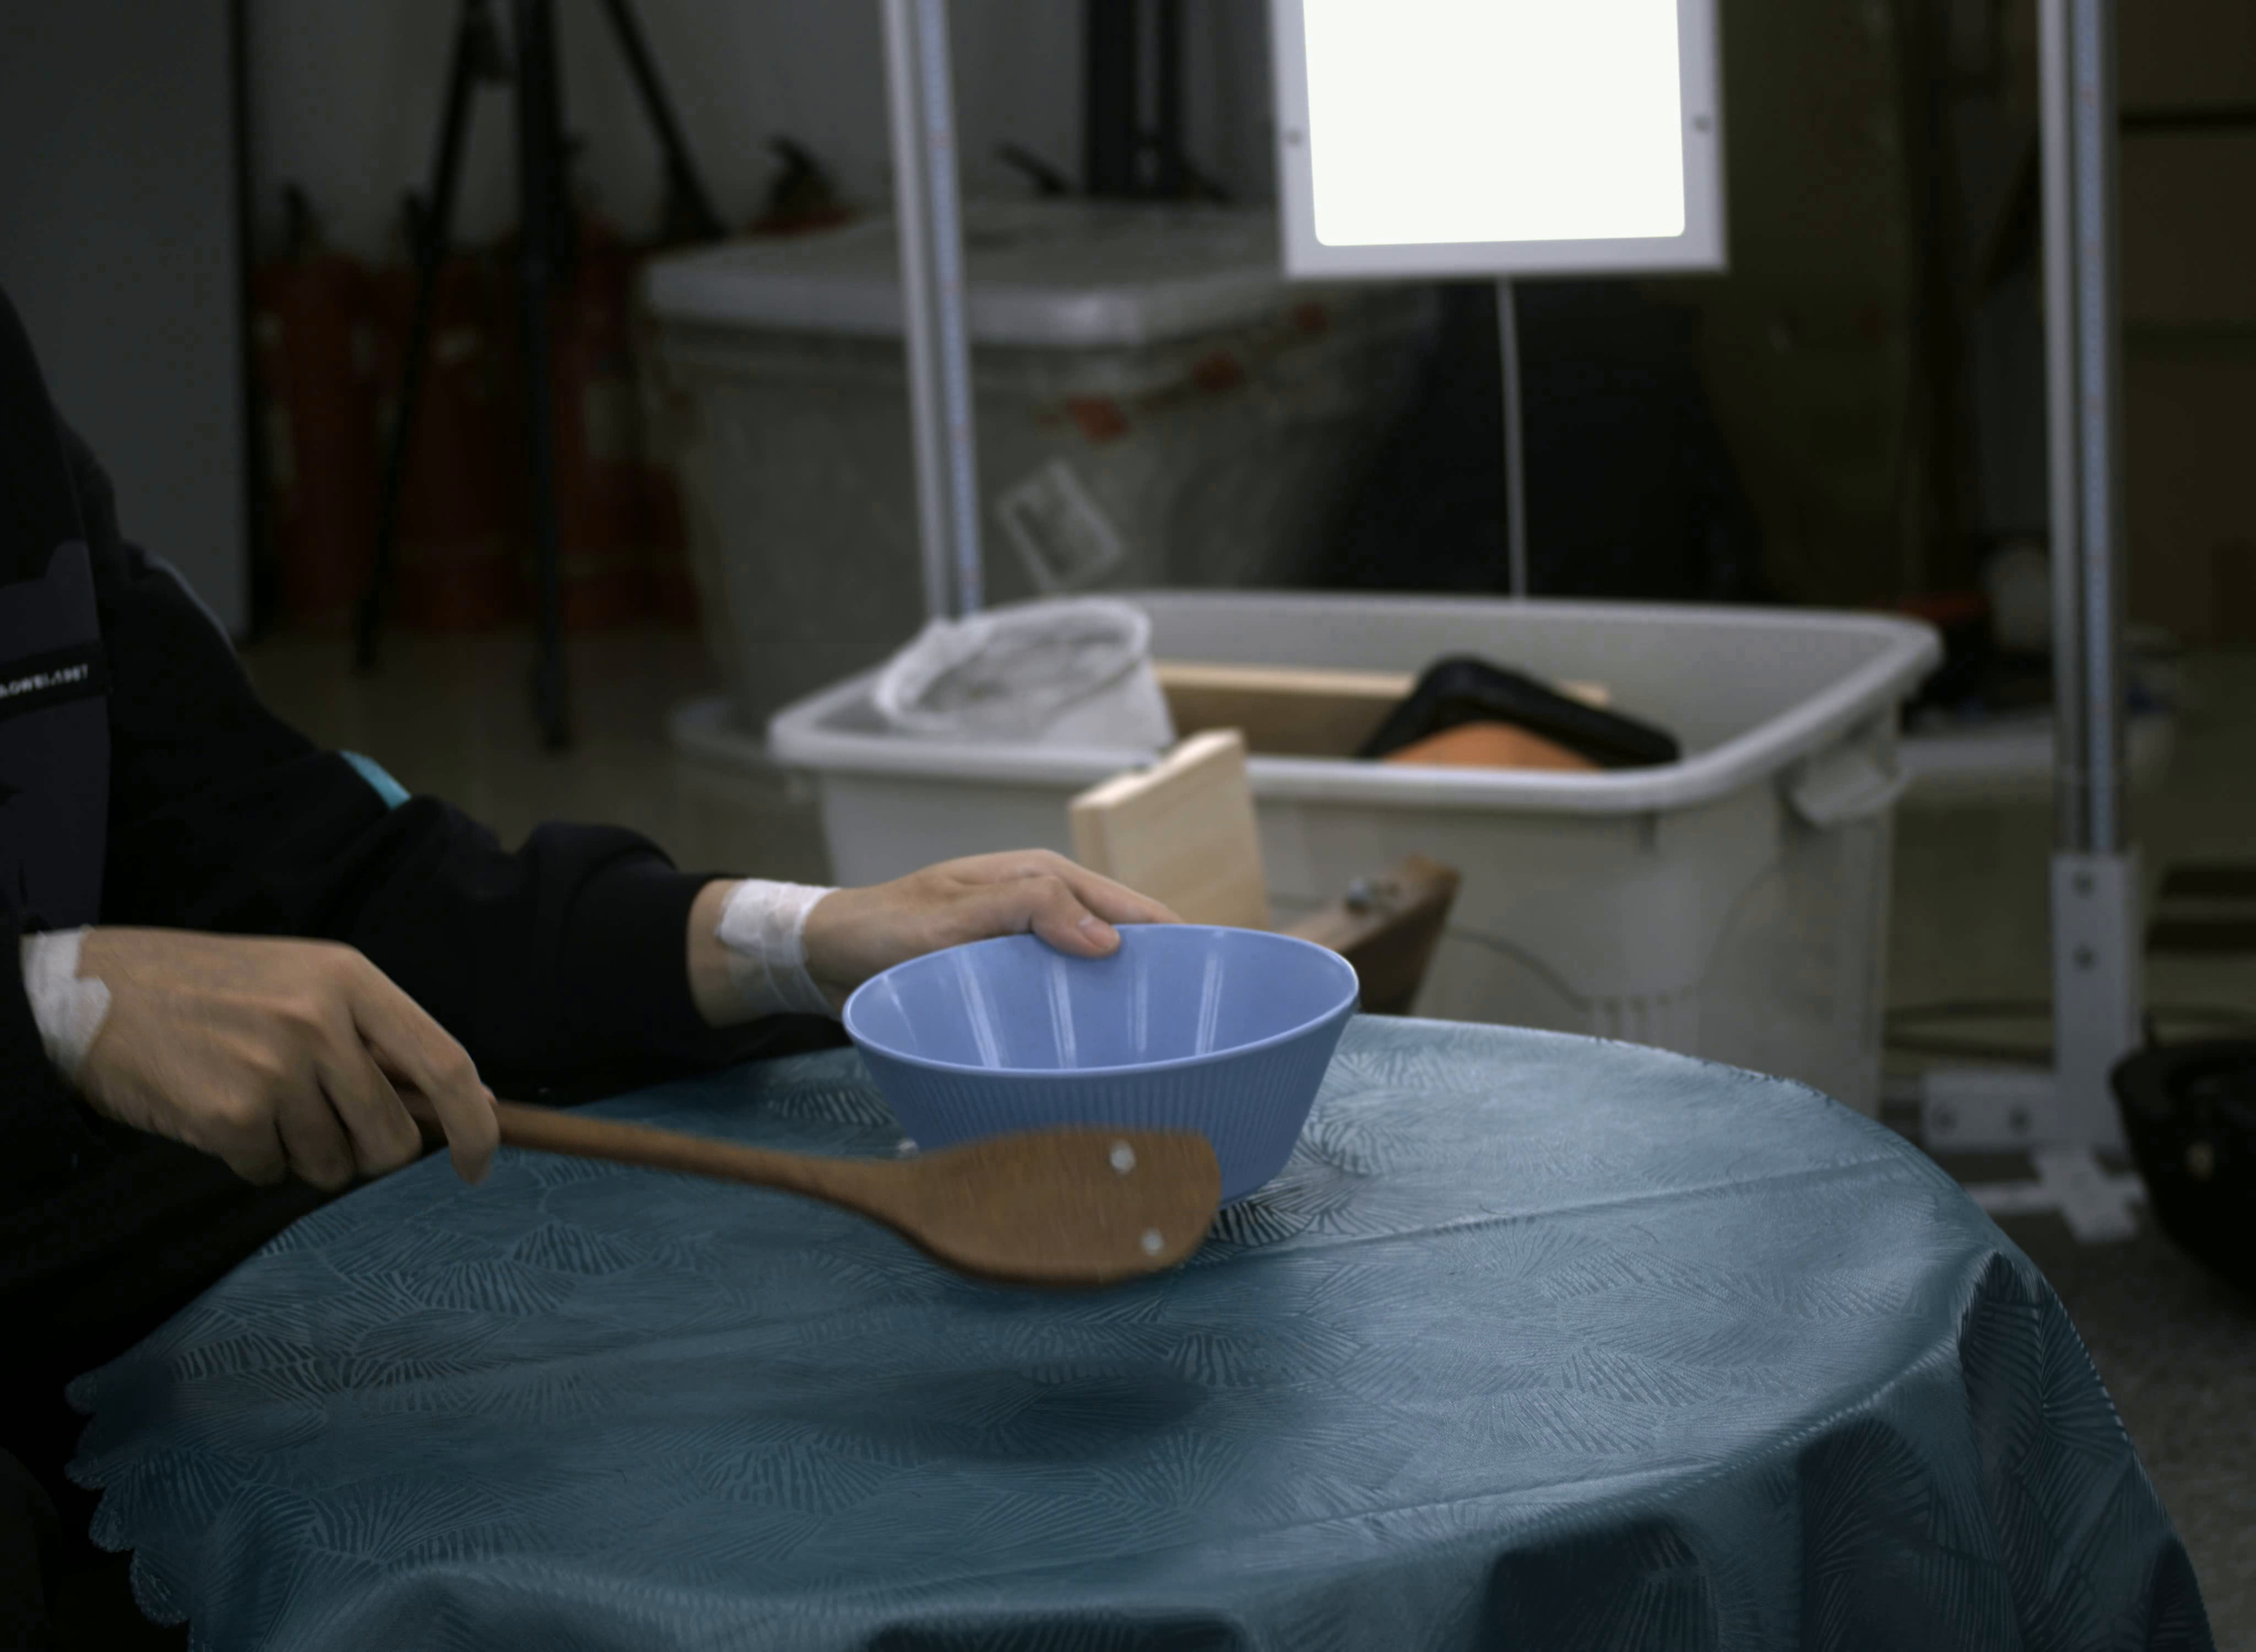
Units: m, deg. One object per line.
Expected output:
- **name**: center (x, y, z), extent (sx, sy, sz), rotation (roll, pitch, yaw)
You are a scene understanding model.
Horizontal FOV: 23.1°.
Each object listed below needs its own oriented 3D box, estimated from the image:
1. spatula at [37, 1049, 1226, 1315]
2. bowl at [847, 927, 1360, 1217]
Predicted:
- **spatula**: center (-0.159, 0.104, 1.723), extent (0.388, 0.016, 0.095), rotation (8, 26, 12)
- **bowl**: center (-0.006, 0.089, 1.867), extent (0.175, 0.070, 0.176), rotation (-5, 13, 0)
